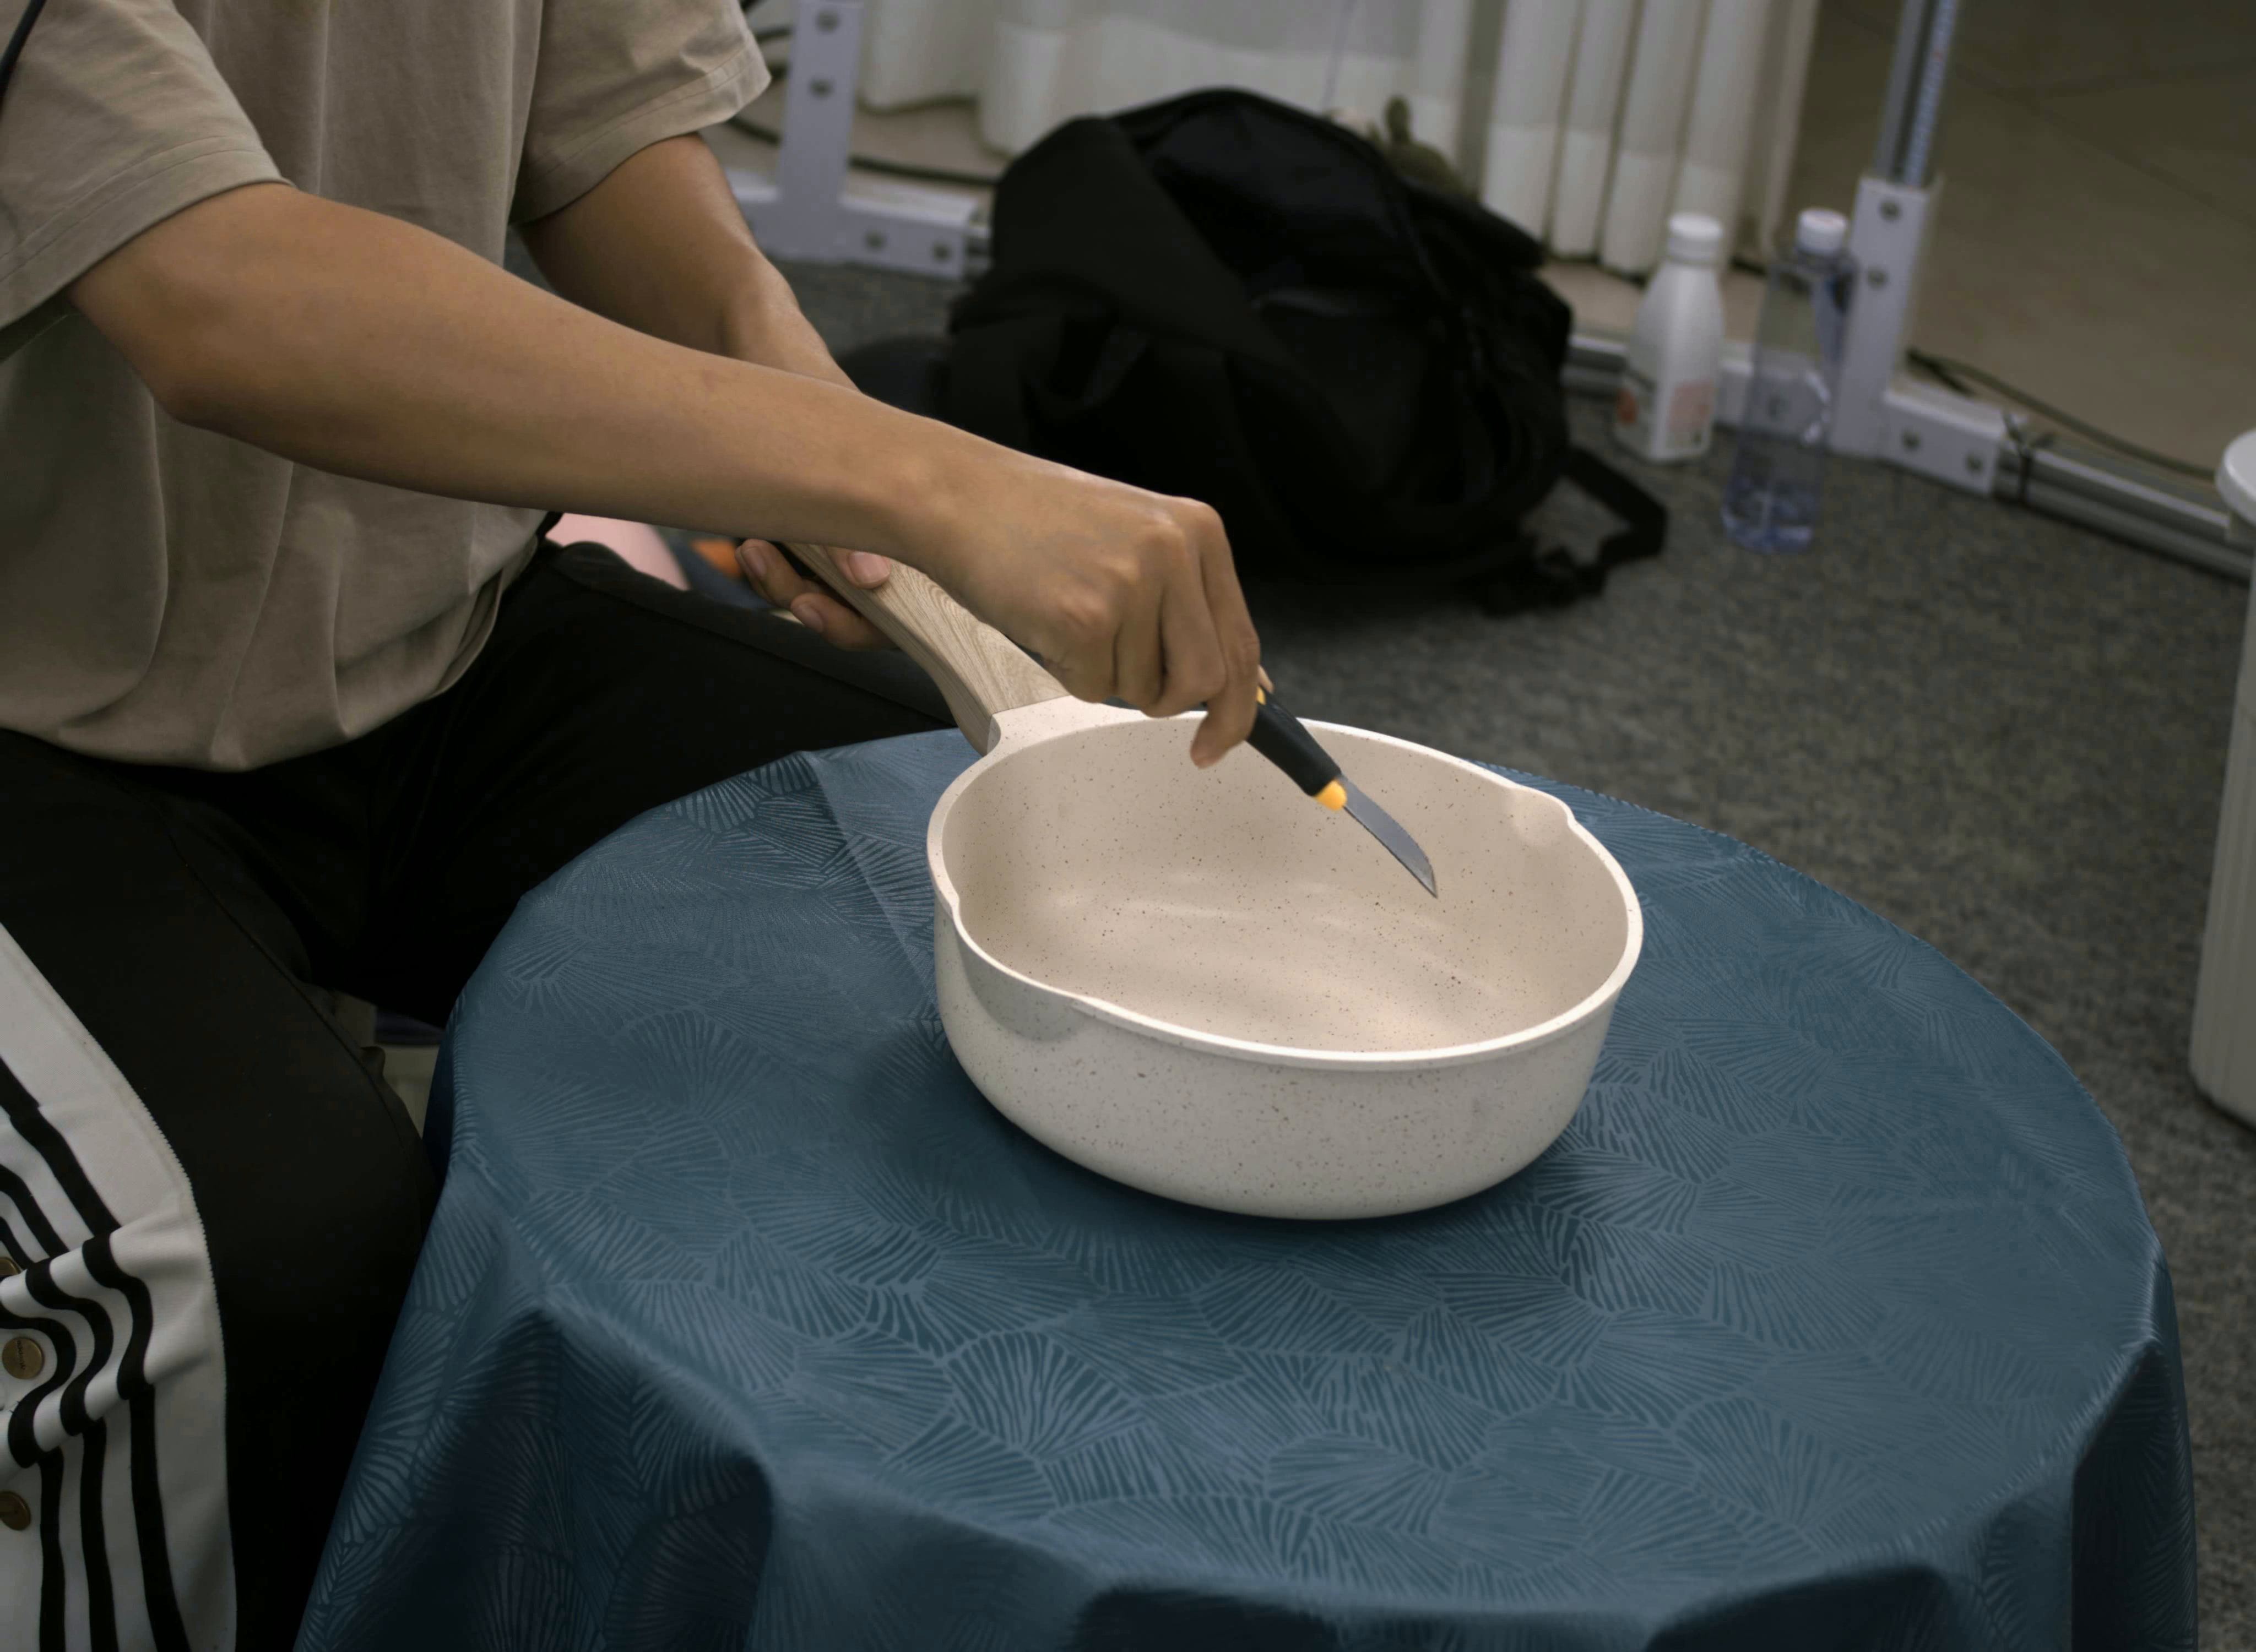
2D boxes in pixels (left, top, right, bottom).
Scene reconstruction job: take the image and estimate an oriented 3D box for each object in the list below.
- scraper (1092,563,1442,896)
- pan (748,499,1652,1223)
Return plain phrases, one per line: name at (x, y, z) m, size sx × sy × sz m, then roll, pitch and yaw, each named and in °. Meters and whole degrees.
scraper at (0.049, -0.034, 1.856) m, size 0.170 × 0.015 × 0.039 m, roll 40°, pitch 30°, yaw -23°
pan at (-0.003, 0.008, 1.928) m, size 0.262 × 0.101 × 0.438 m, roll -18°, pitch 36°, yaw -35°
